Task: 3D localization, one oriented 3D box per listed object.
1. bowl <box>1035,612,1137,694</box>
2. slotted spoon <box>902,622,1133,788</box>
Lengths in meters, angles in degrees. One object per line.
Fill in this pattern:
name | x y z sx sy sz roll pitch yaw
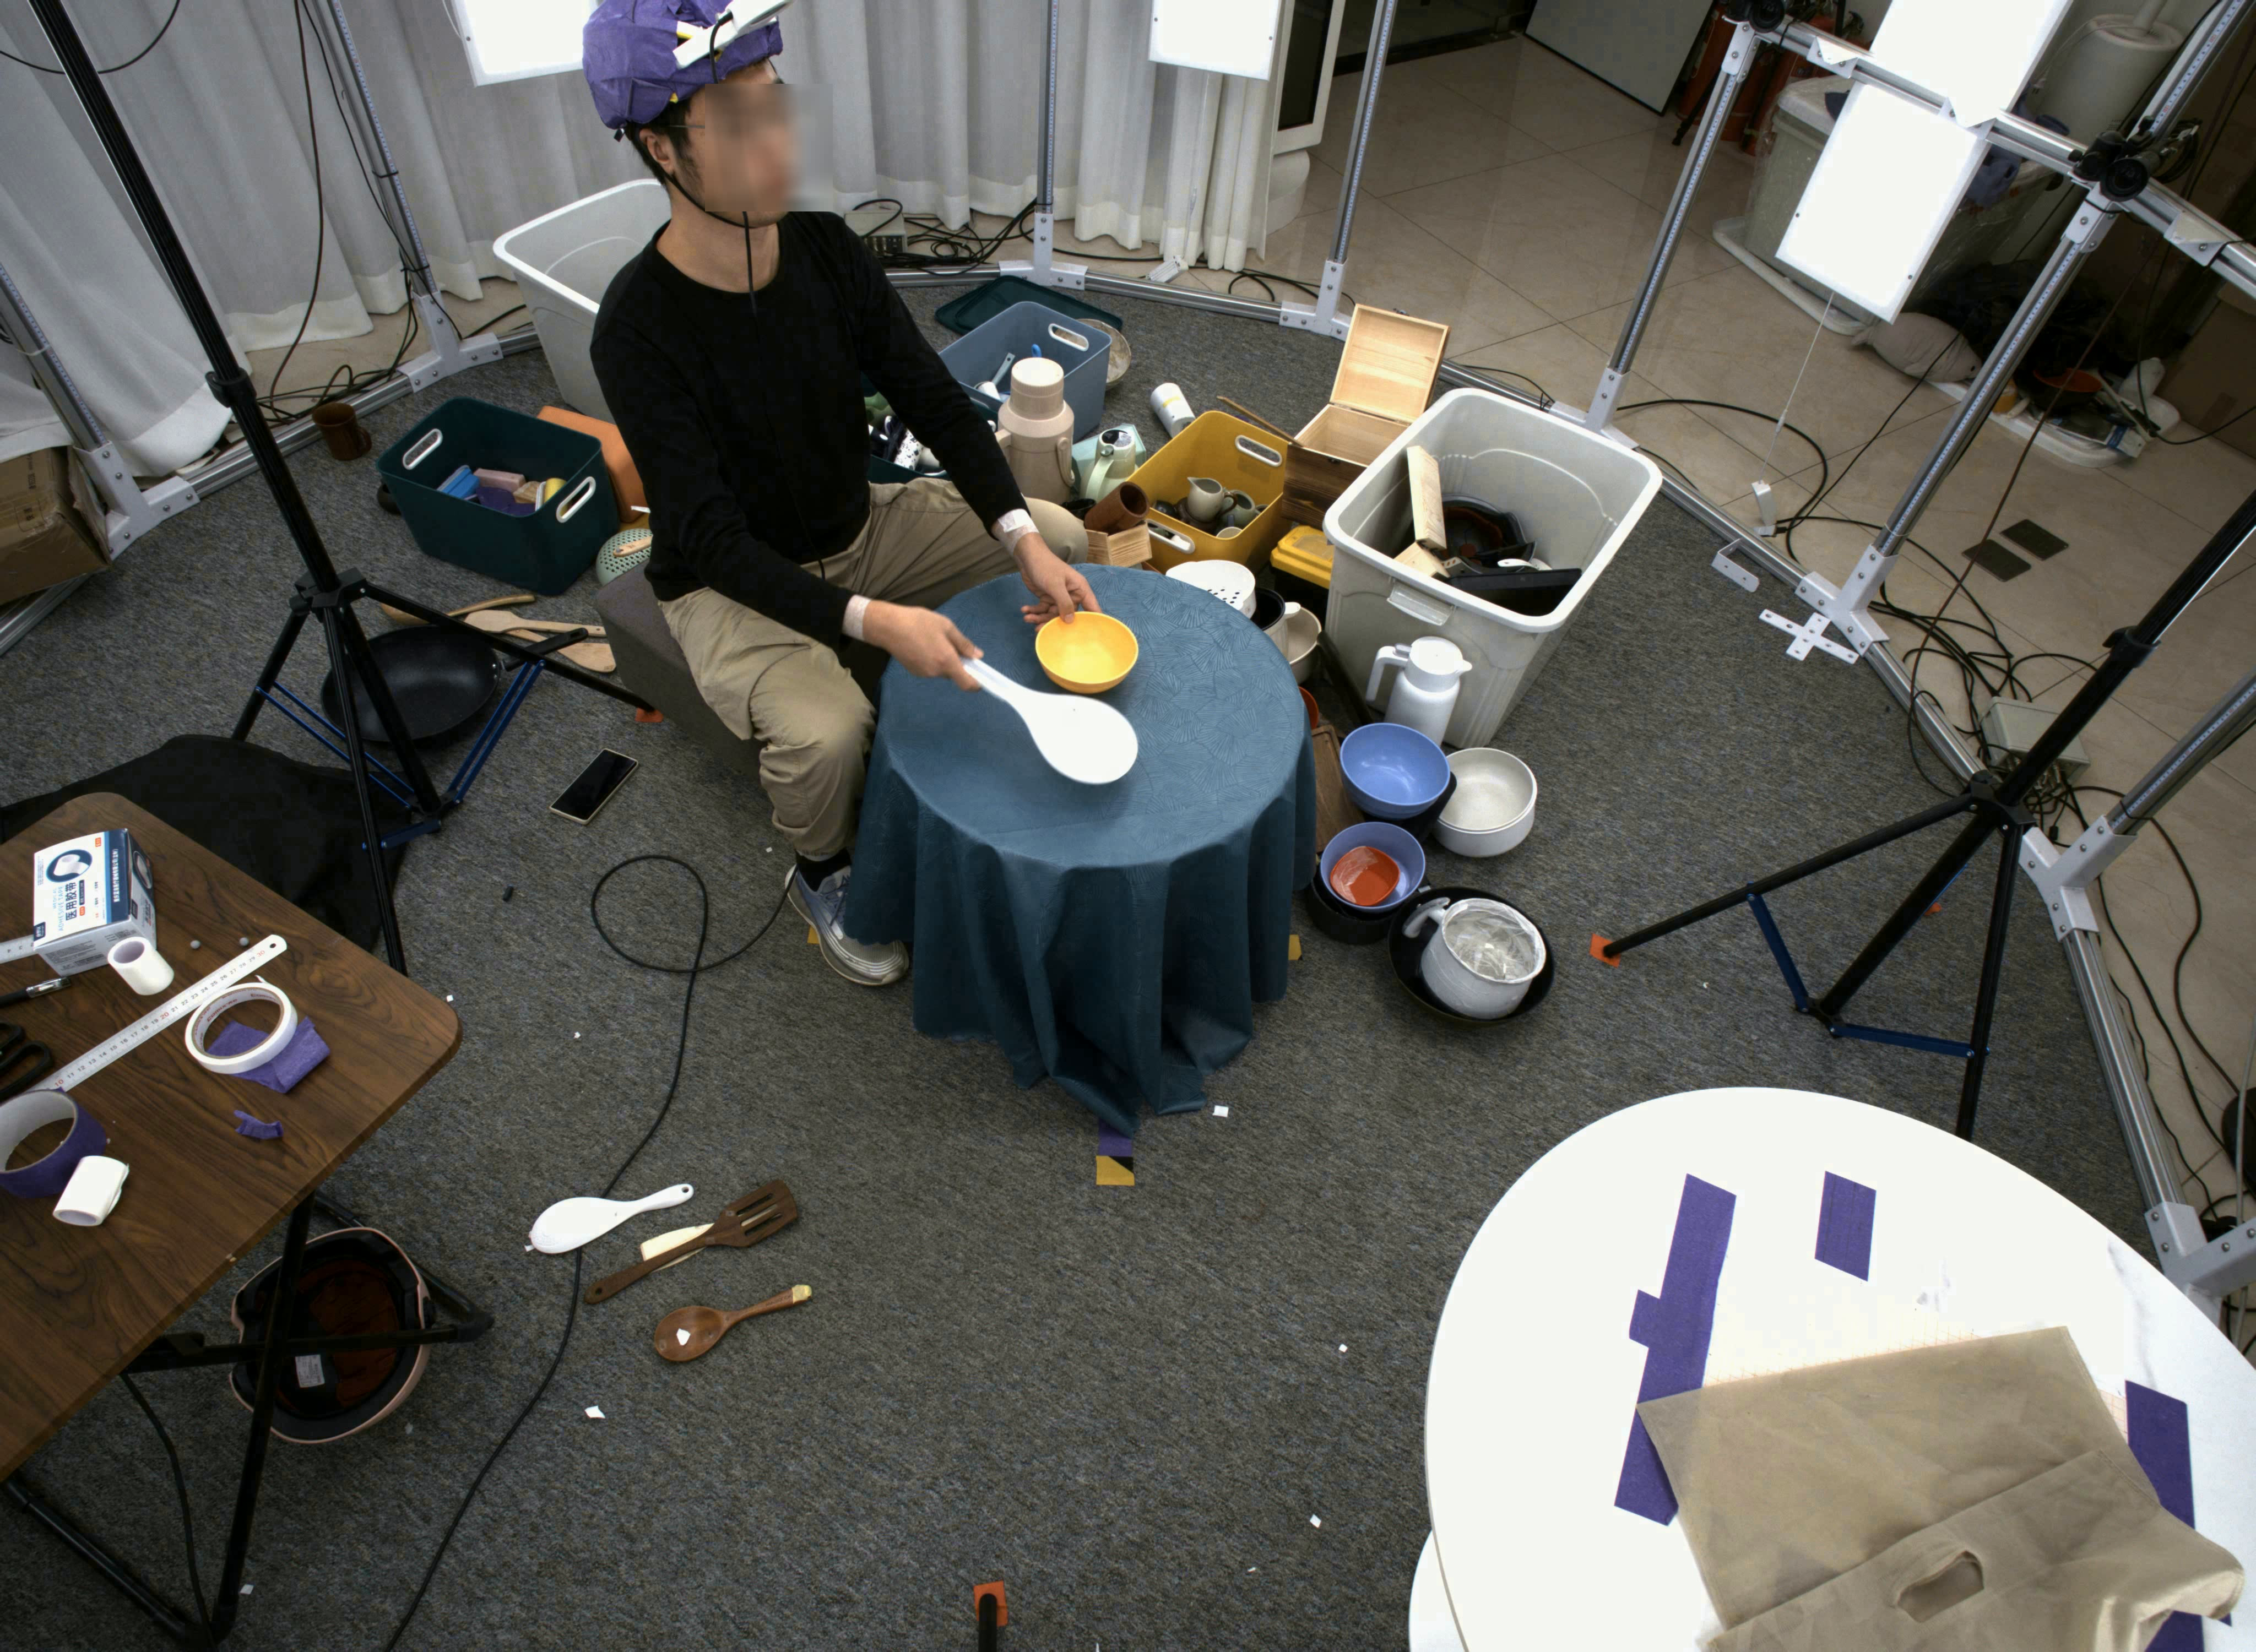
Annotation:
bowl | -0.062 -0.235 1.832 0.145 0.059 0.149 4 50 -5
slotted spoon | -0.150 -0.164 1.696 0.350 0.045 0.138 37 52 1
